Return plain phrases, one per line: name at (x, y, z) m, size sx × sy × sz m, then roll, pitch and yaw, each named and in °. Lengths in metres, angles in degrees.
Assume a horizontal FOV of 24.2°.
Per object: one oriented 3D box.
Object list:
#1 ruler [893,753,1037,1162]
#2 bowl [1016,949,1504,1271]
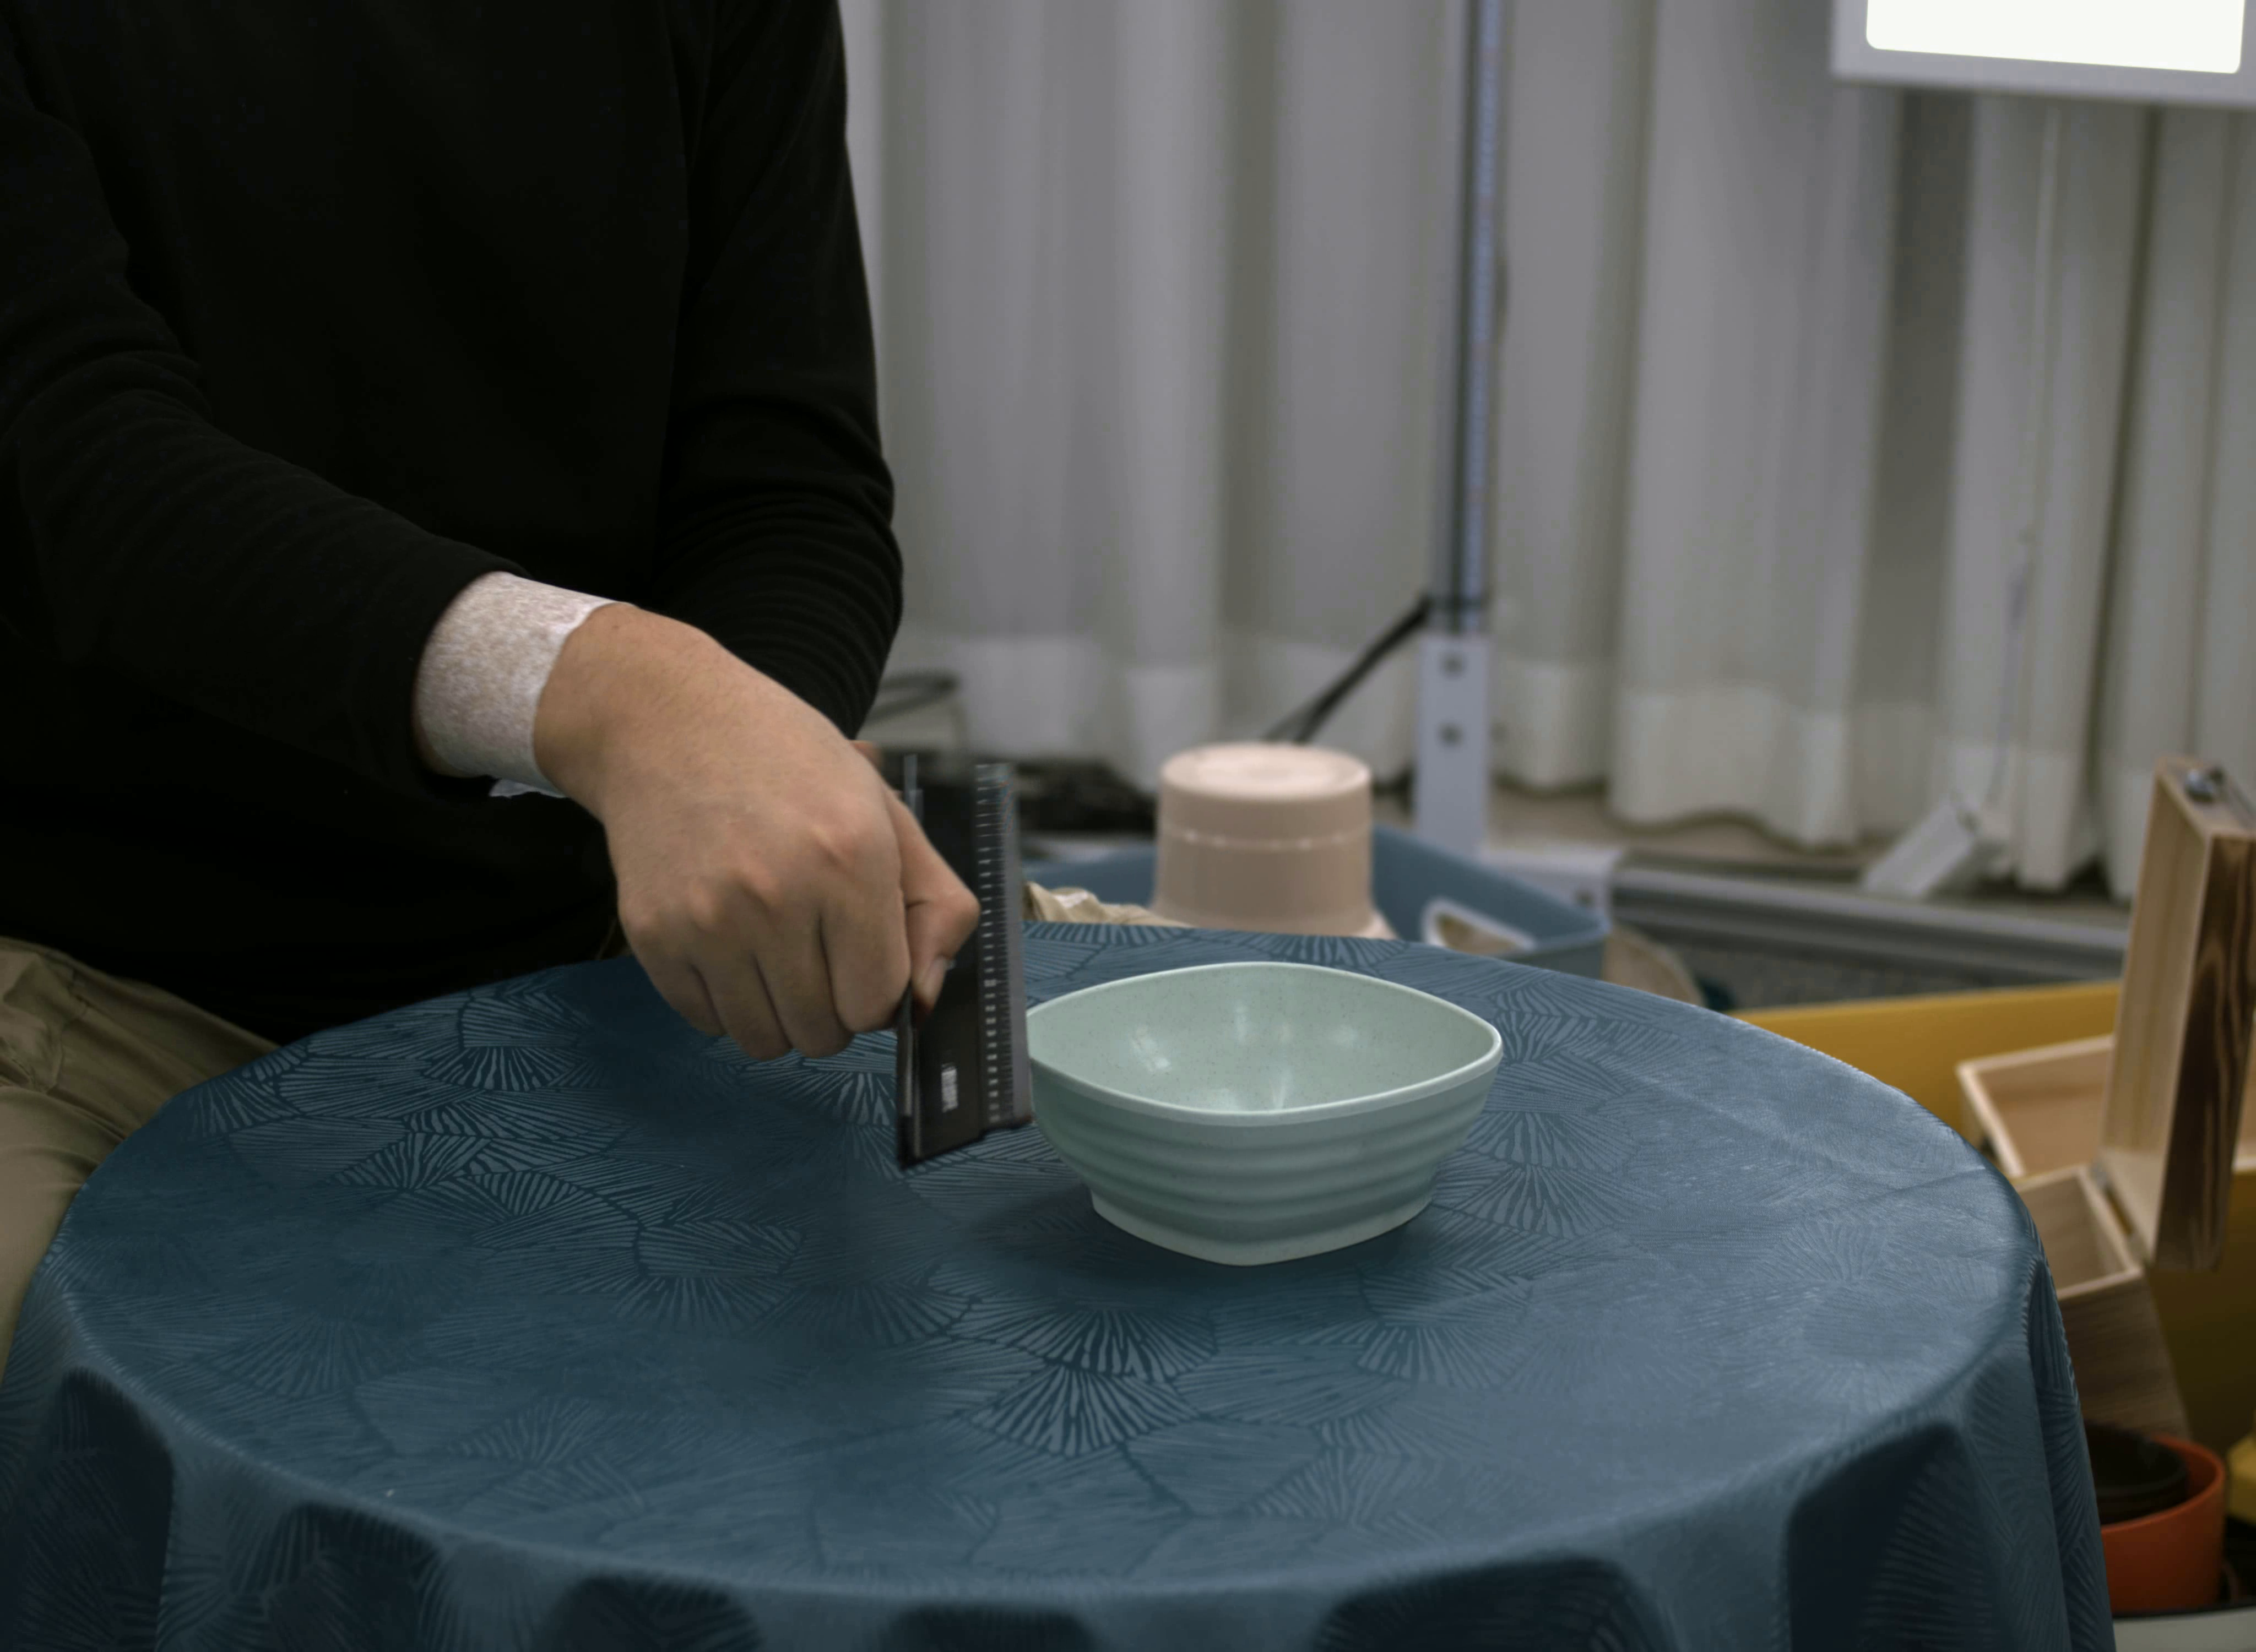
ruler at (-0.048, 0.028, 1.545) m, size 0.039 × 0.017 × 0.310 m, roll -16°, pitch 18°, yaw 5°
bowl at (0.037, 0.089, 1.597) m, size 0.151 × 0.059 × 0.150 m, roll 2°, pitch 18°, yaw 0°
